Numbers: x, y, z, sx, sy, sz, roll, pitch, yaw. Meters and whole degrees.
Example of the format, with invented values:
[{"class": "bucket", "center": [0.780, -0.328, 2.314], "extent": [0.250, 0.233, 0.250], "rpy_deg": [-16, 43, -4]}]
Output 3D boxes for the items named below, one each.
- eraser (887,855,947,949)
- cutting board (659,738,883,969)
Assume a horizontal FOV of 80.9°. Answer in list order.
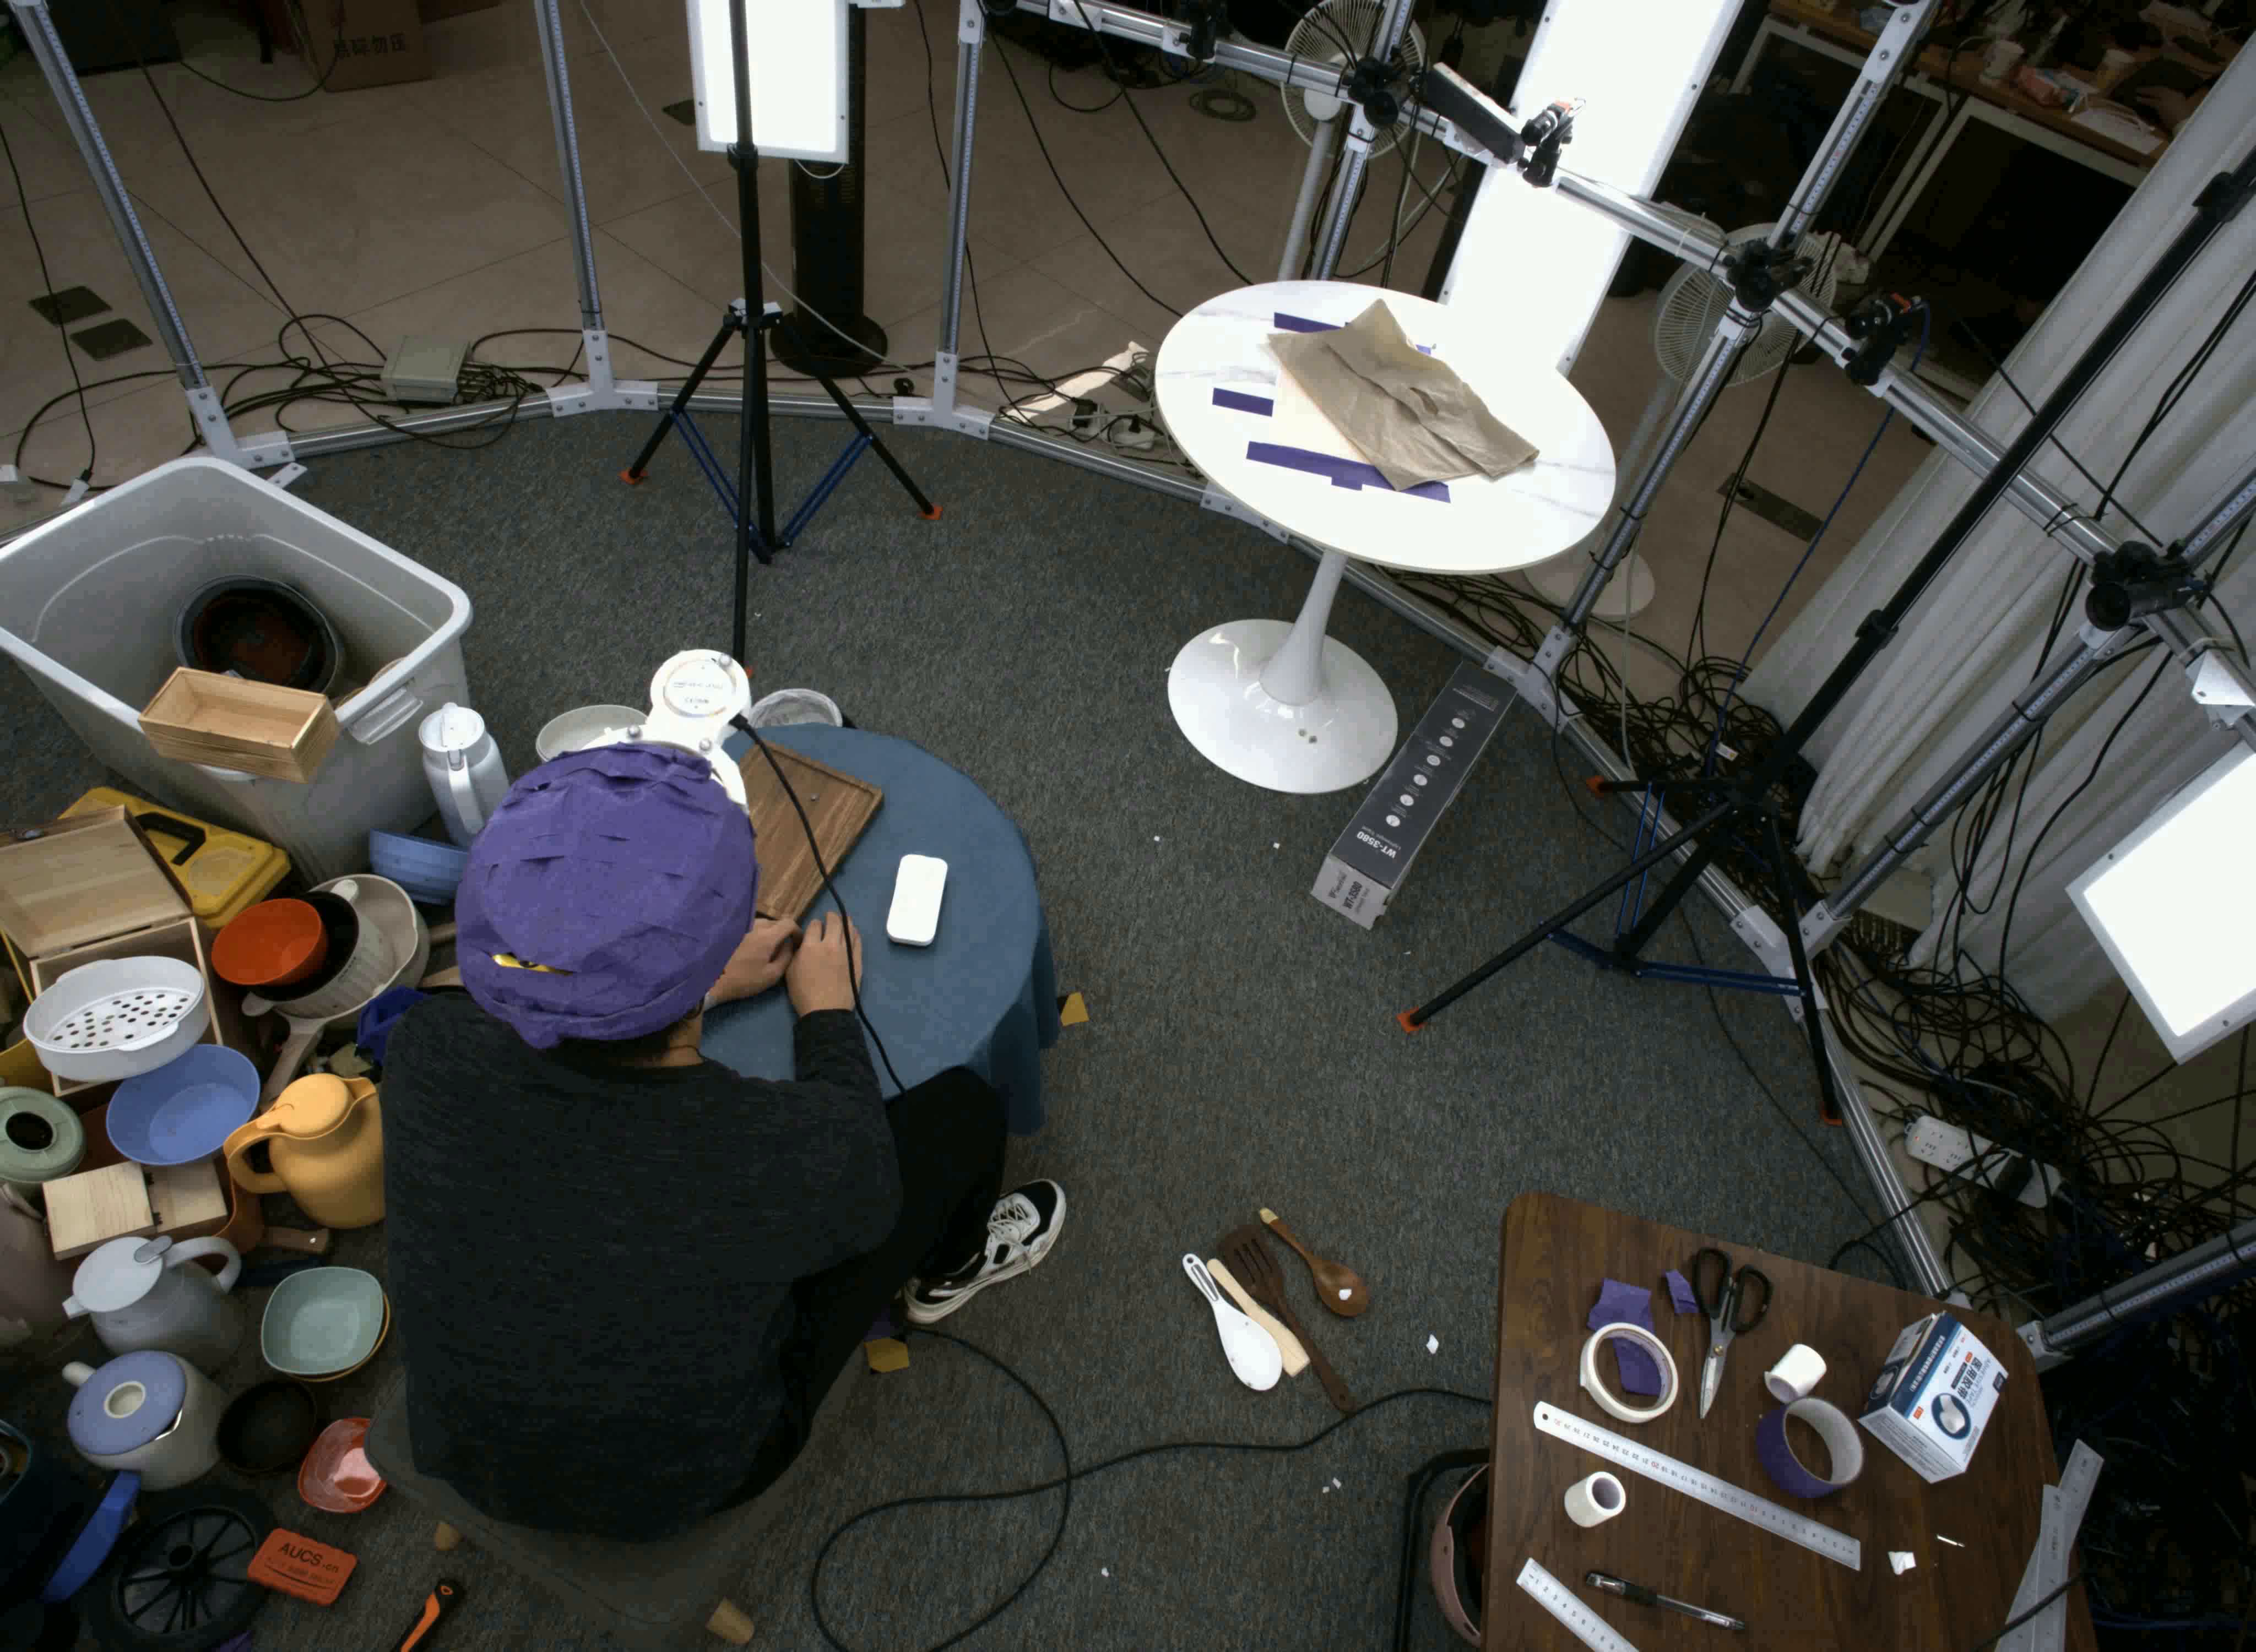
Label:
[{"class": "eraser", "center": [-0.272, 0.094, 1.669], "extent": [0.063, 0.035, 0.129], "rpy_deg": [11, 51, -7]}, {"class": "cutting board", "center": [-0.479, 0.039, 1.662], "extent": [0.199, 0.023, 0.349], "rpy_deg": [24, 52, 3]}]
